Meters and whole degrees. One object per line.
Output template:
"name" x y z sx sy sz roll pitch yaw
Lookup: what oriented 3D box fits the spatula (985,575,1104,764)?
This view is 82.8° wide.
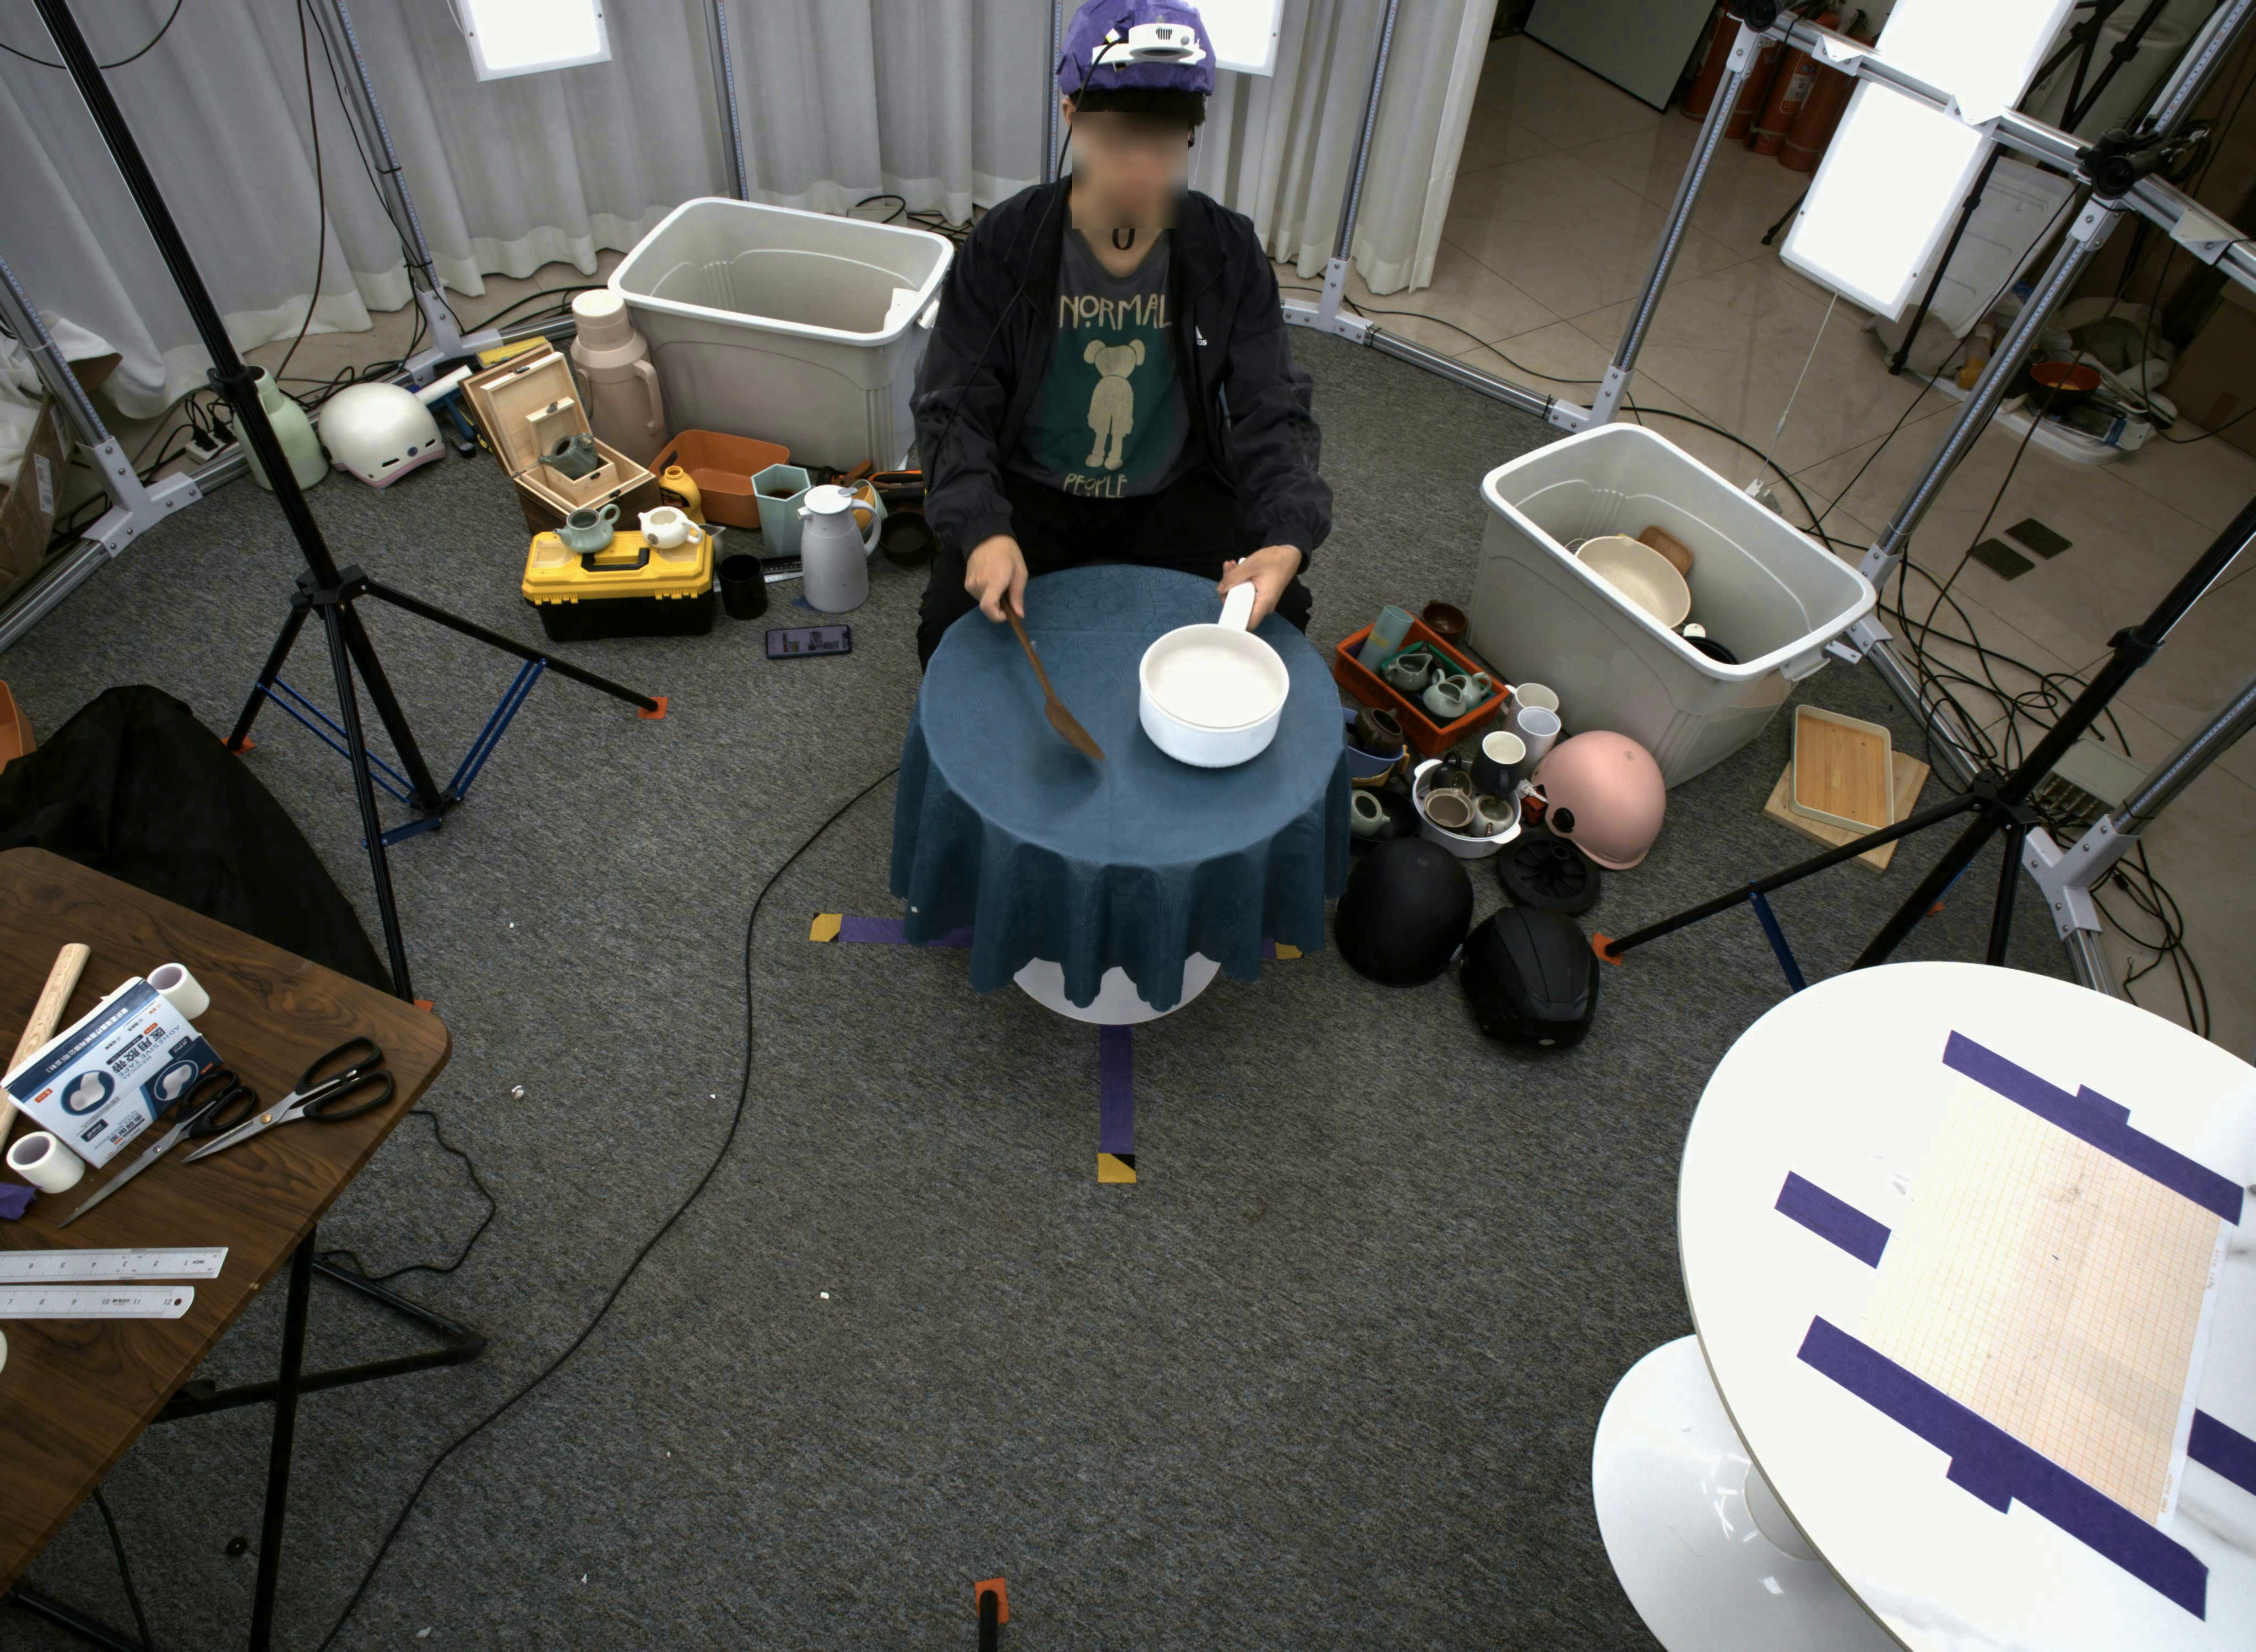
"spatula" -0.130 -0.228 1.789 0.015 0.094 0.395 -41 52 18

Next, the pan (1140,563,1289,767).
"pan" 0.135 -0.228 1.810 0.202 0.099 0.362 13 48 9
